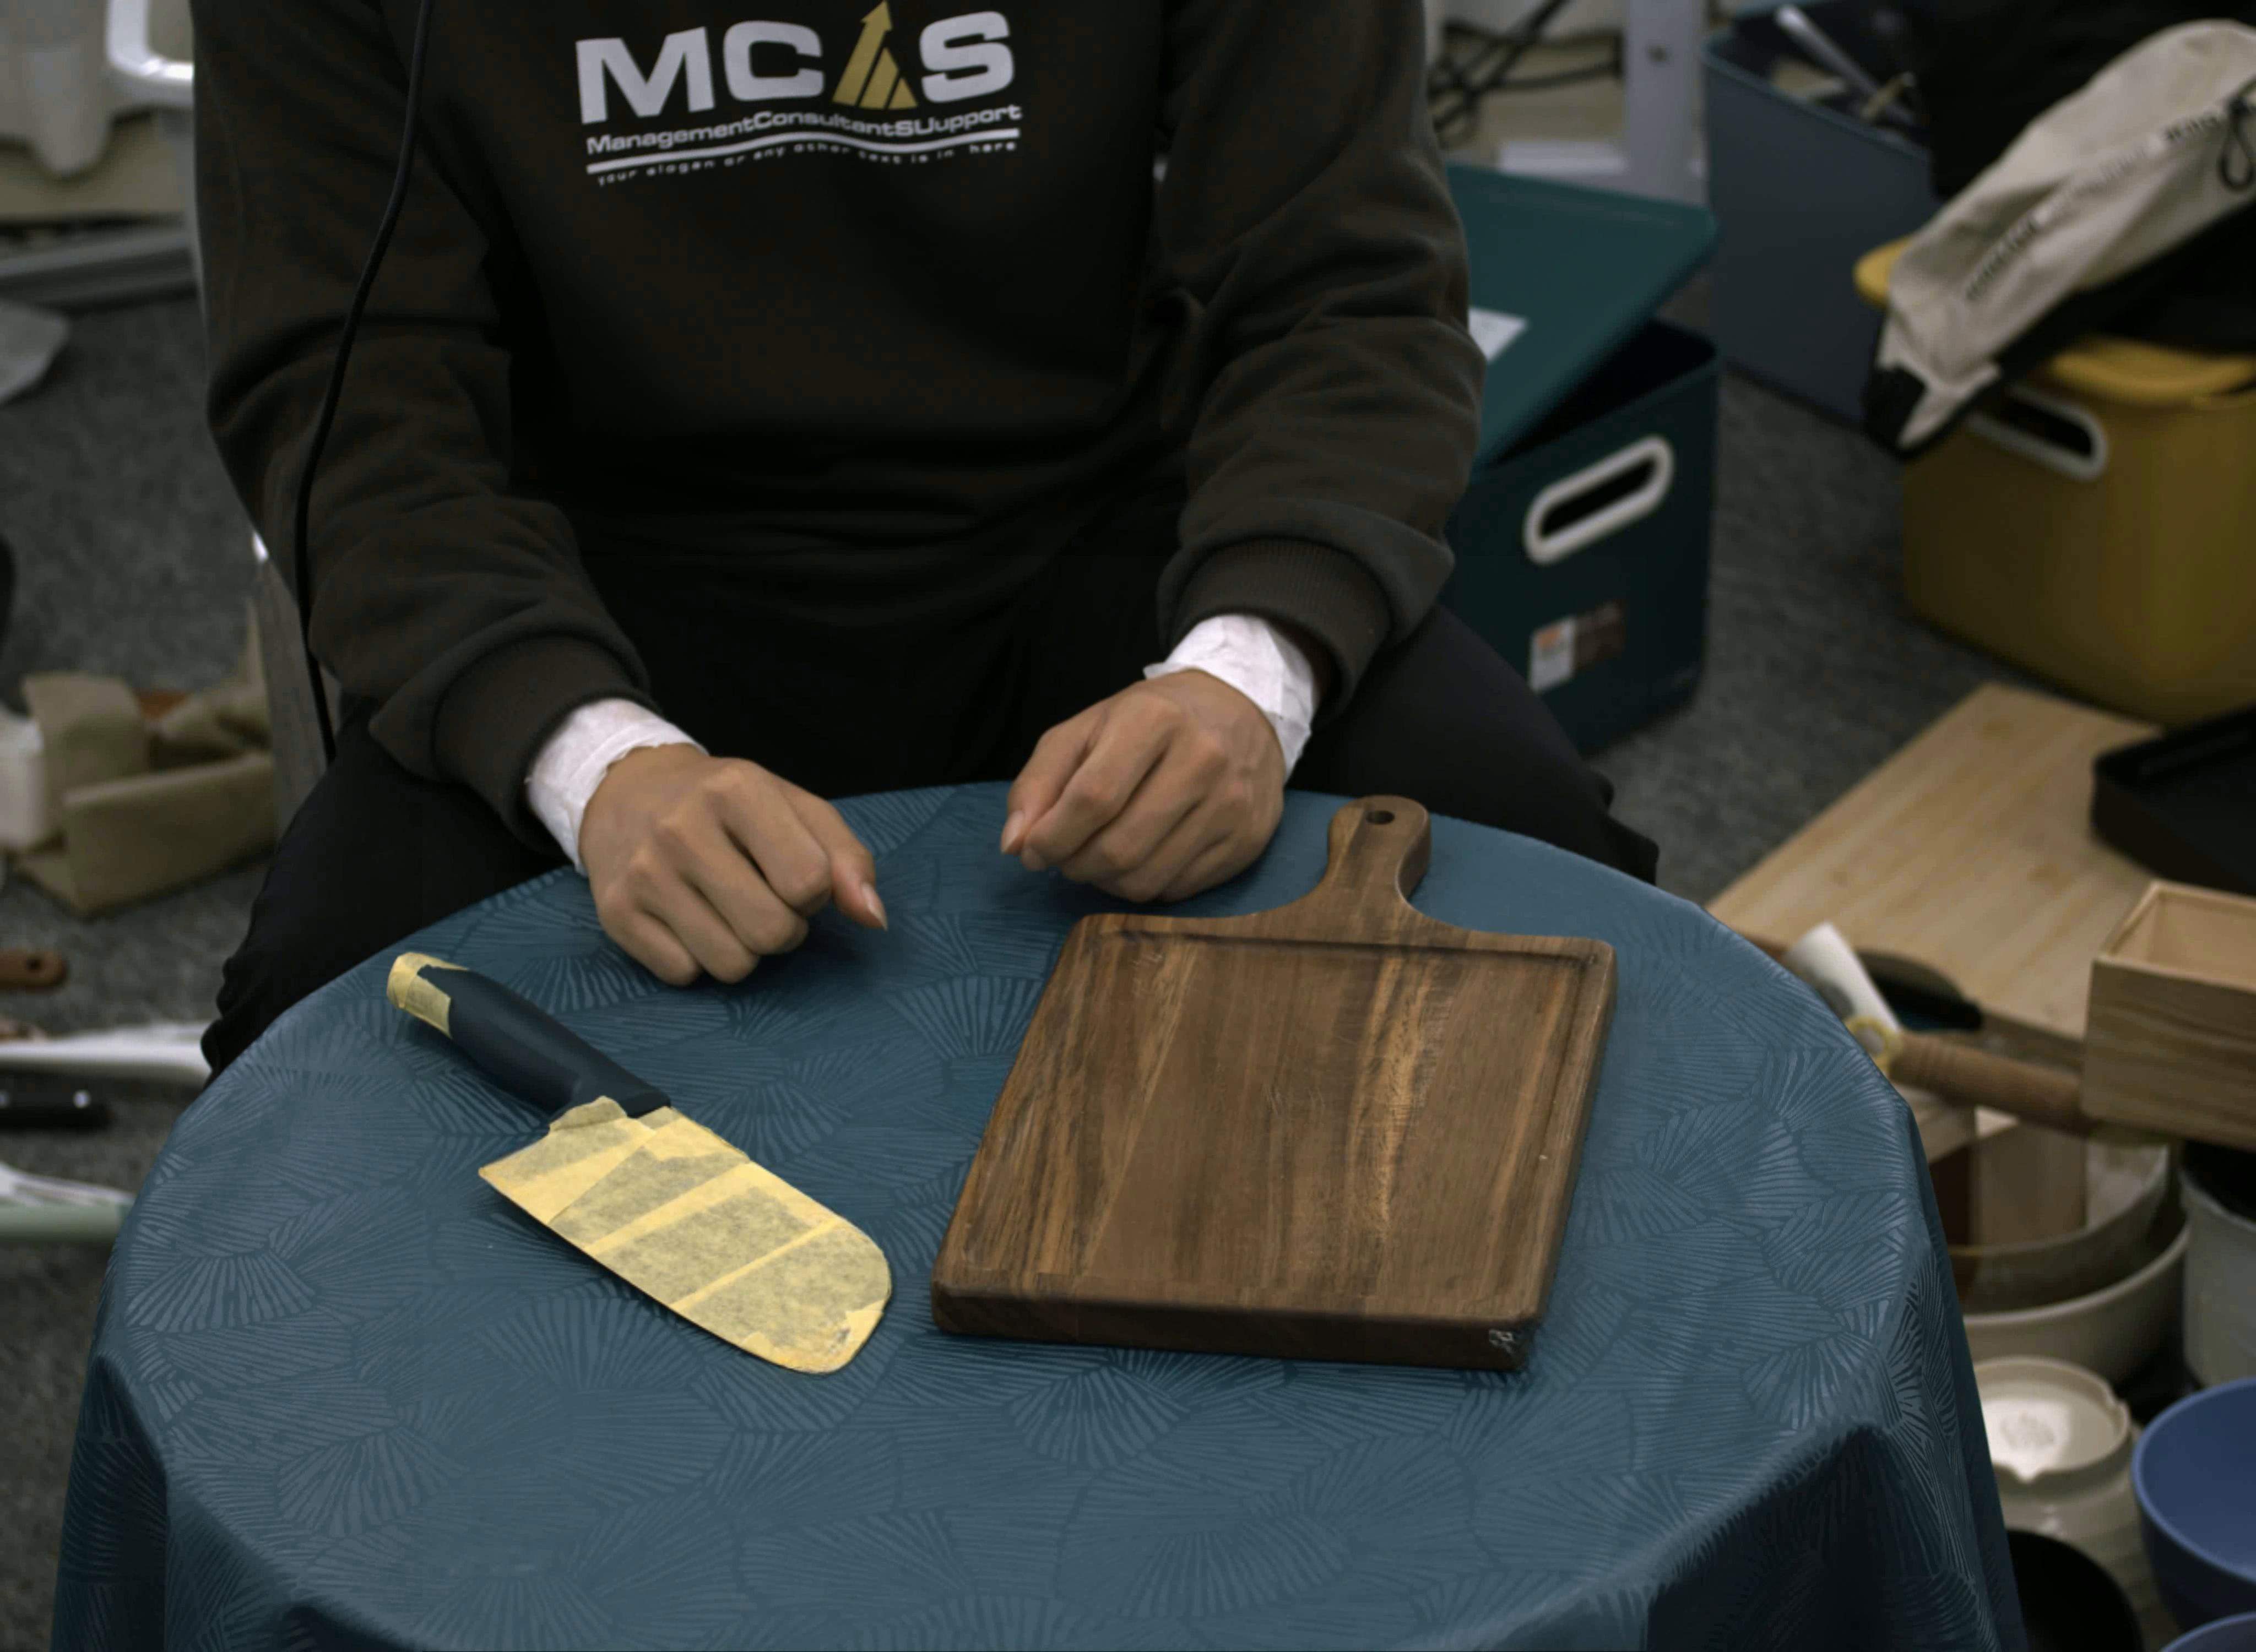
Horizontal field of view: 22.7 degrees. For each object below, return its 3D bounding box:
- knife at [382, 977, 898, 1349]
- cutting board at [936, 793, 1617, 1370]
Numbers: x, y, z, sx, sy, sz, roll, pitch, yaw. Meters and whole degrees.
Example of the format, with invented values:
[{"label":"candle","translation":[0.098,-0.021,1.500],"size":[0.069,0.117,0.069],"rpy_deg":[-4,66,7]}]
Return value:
[{"label":"knife","translation":[-0.174,0.114,1.877],"size":[0.082,0.027,0.290],"rpy_deg":[-20,33,-34]},{"label":"cutting board","translation":[0.063,0.078,1.917],"size":[0.200,0.023,0.358],"rpy_deg":[3,28,10]}]
